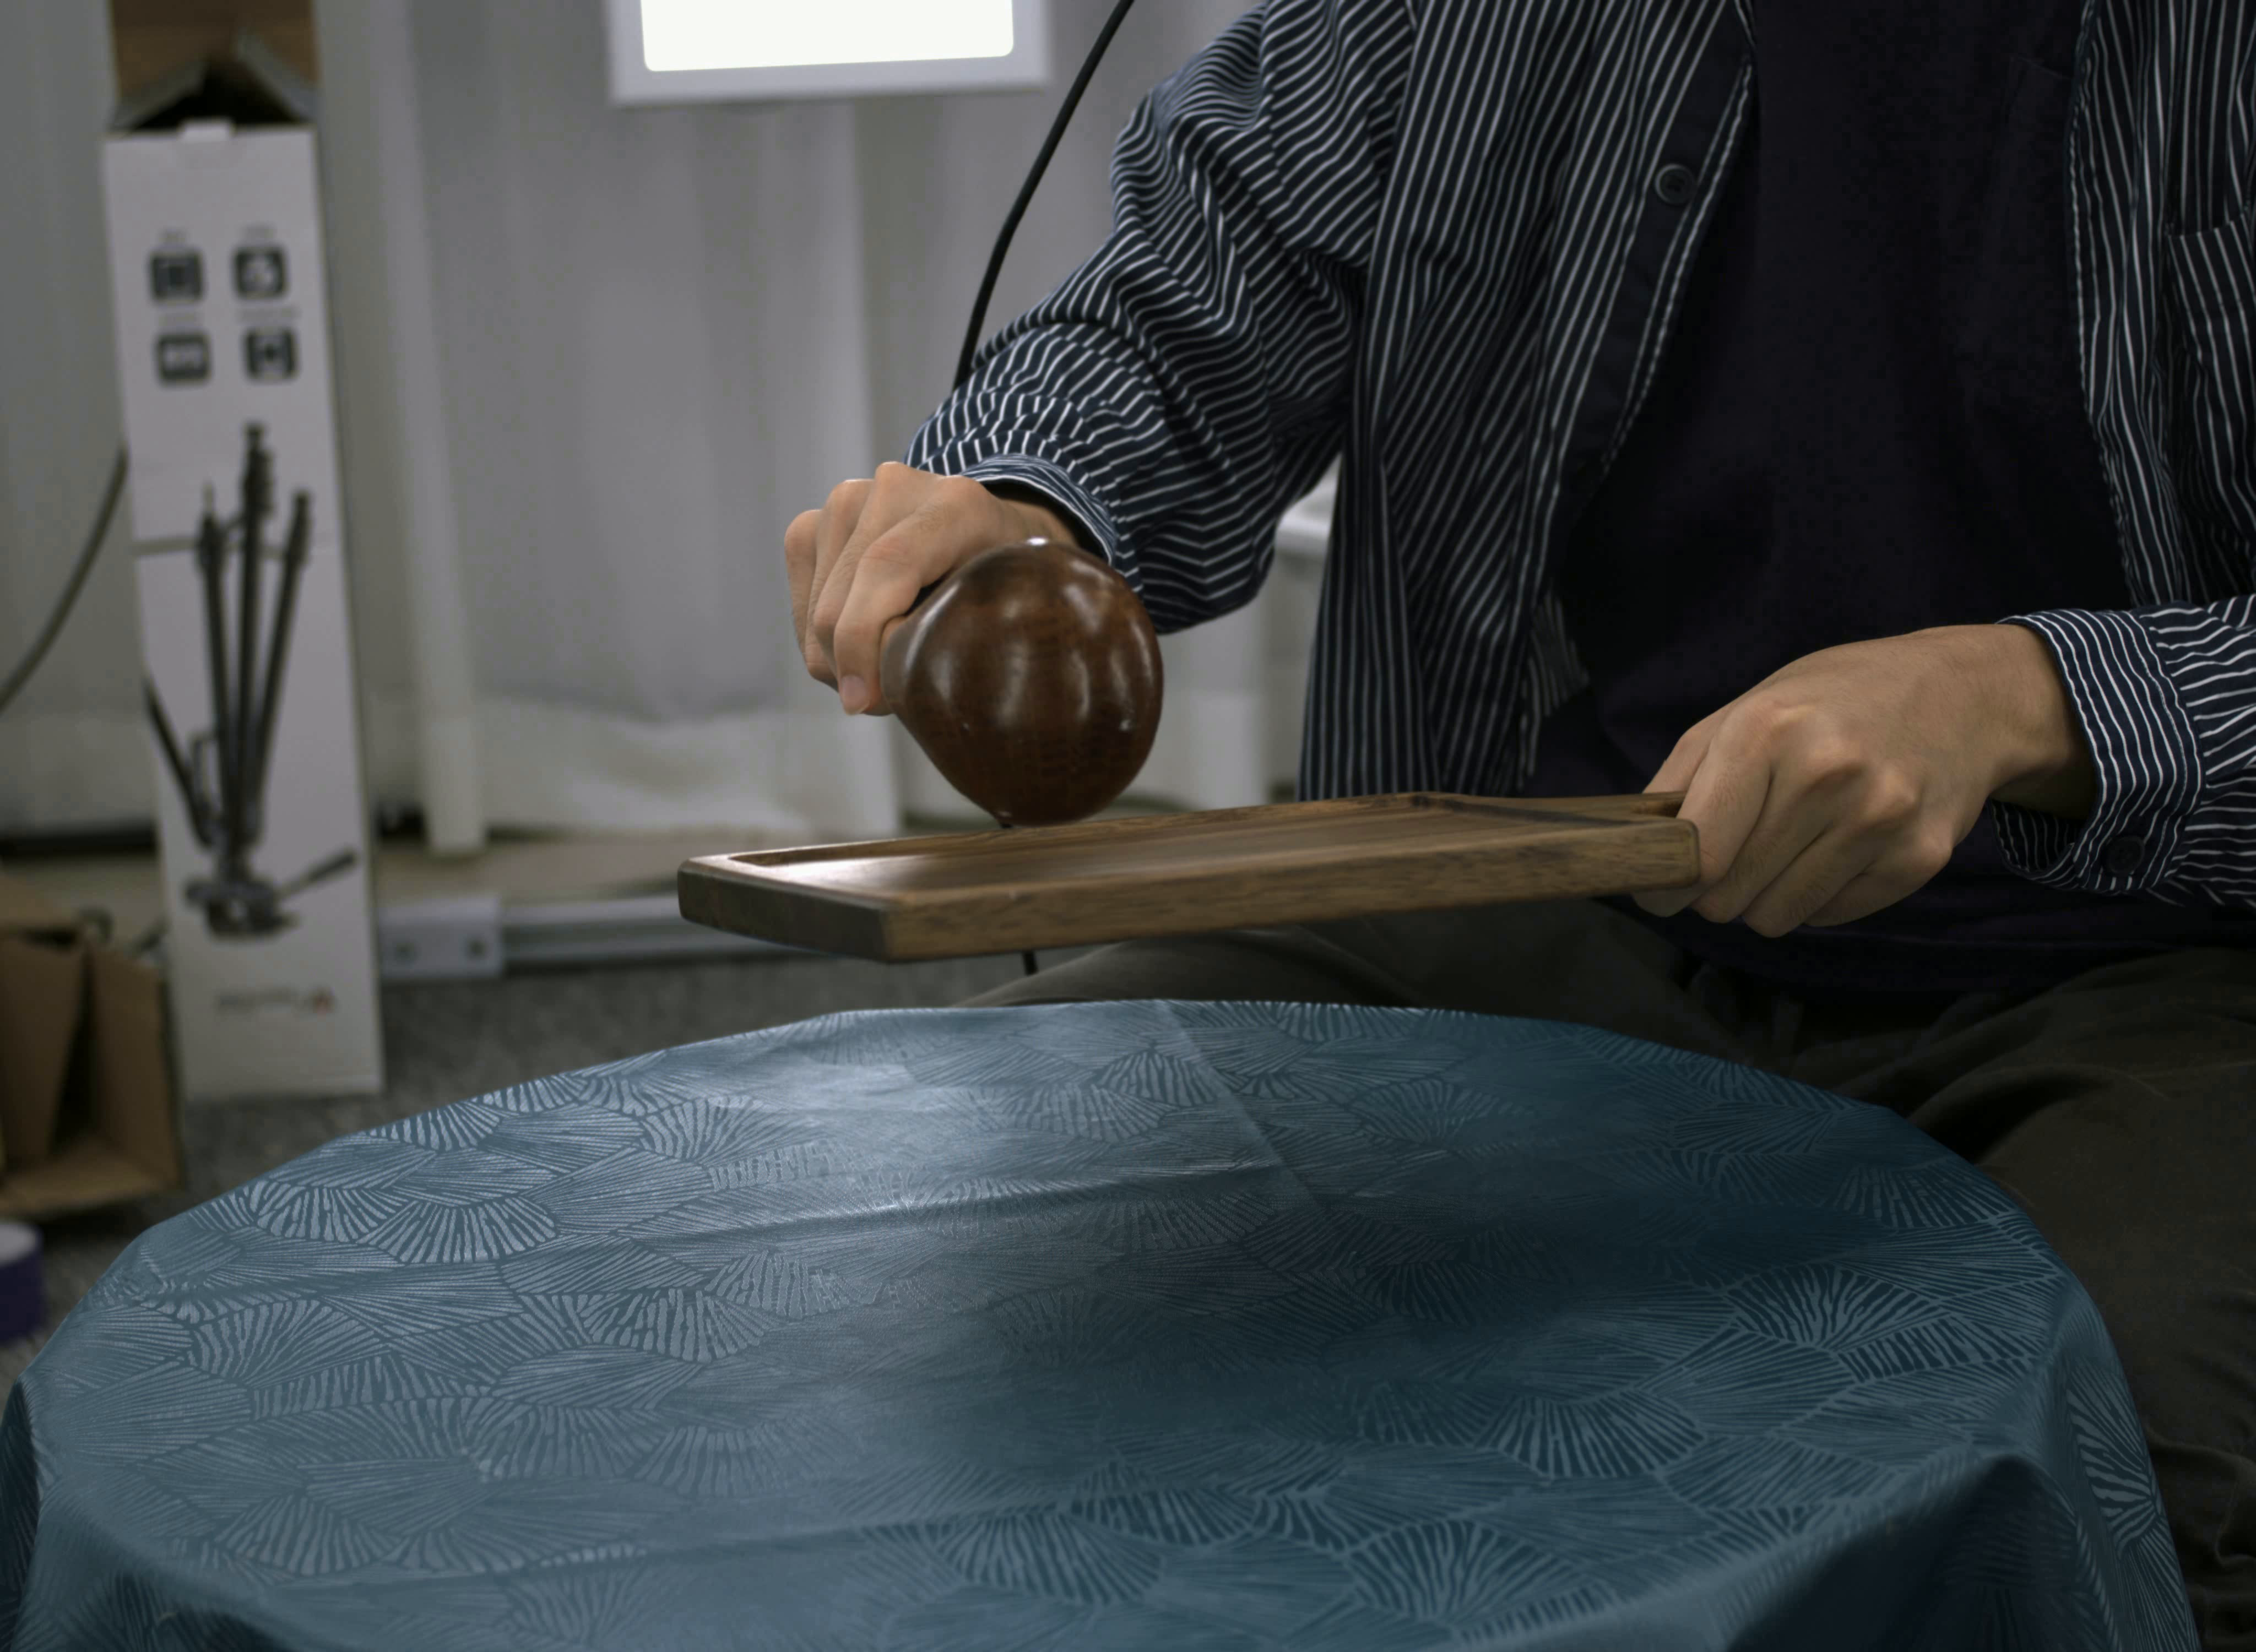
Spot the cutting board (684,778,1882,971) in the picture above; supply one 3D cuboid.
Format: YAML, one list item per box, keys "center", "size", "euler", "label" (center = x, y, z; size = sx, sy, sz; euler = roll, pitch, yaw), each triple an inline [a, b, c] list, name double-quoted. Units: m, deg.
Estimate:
- center: [0.063, 0.011, 1.601]
  size: [0.350, 0.023, 0.201]
  euler: [-5, 4, -19]
  label: "cutting board"

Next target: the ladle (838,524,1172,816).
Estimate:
- center: [-0.039, -0.052, 1.642]
  size: [0.076, 0.082, 0.275]
  euler: [10, 3, -7]
  label: "ladle"
